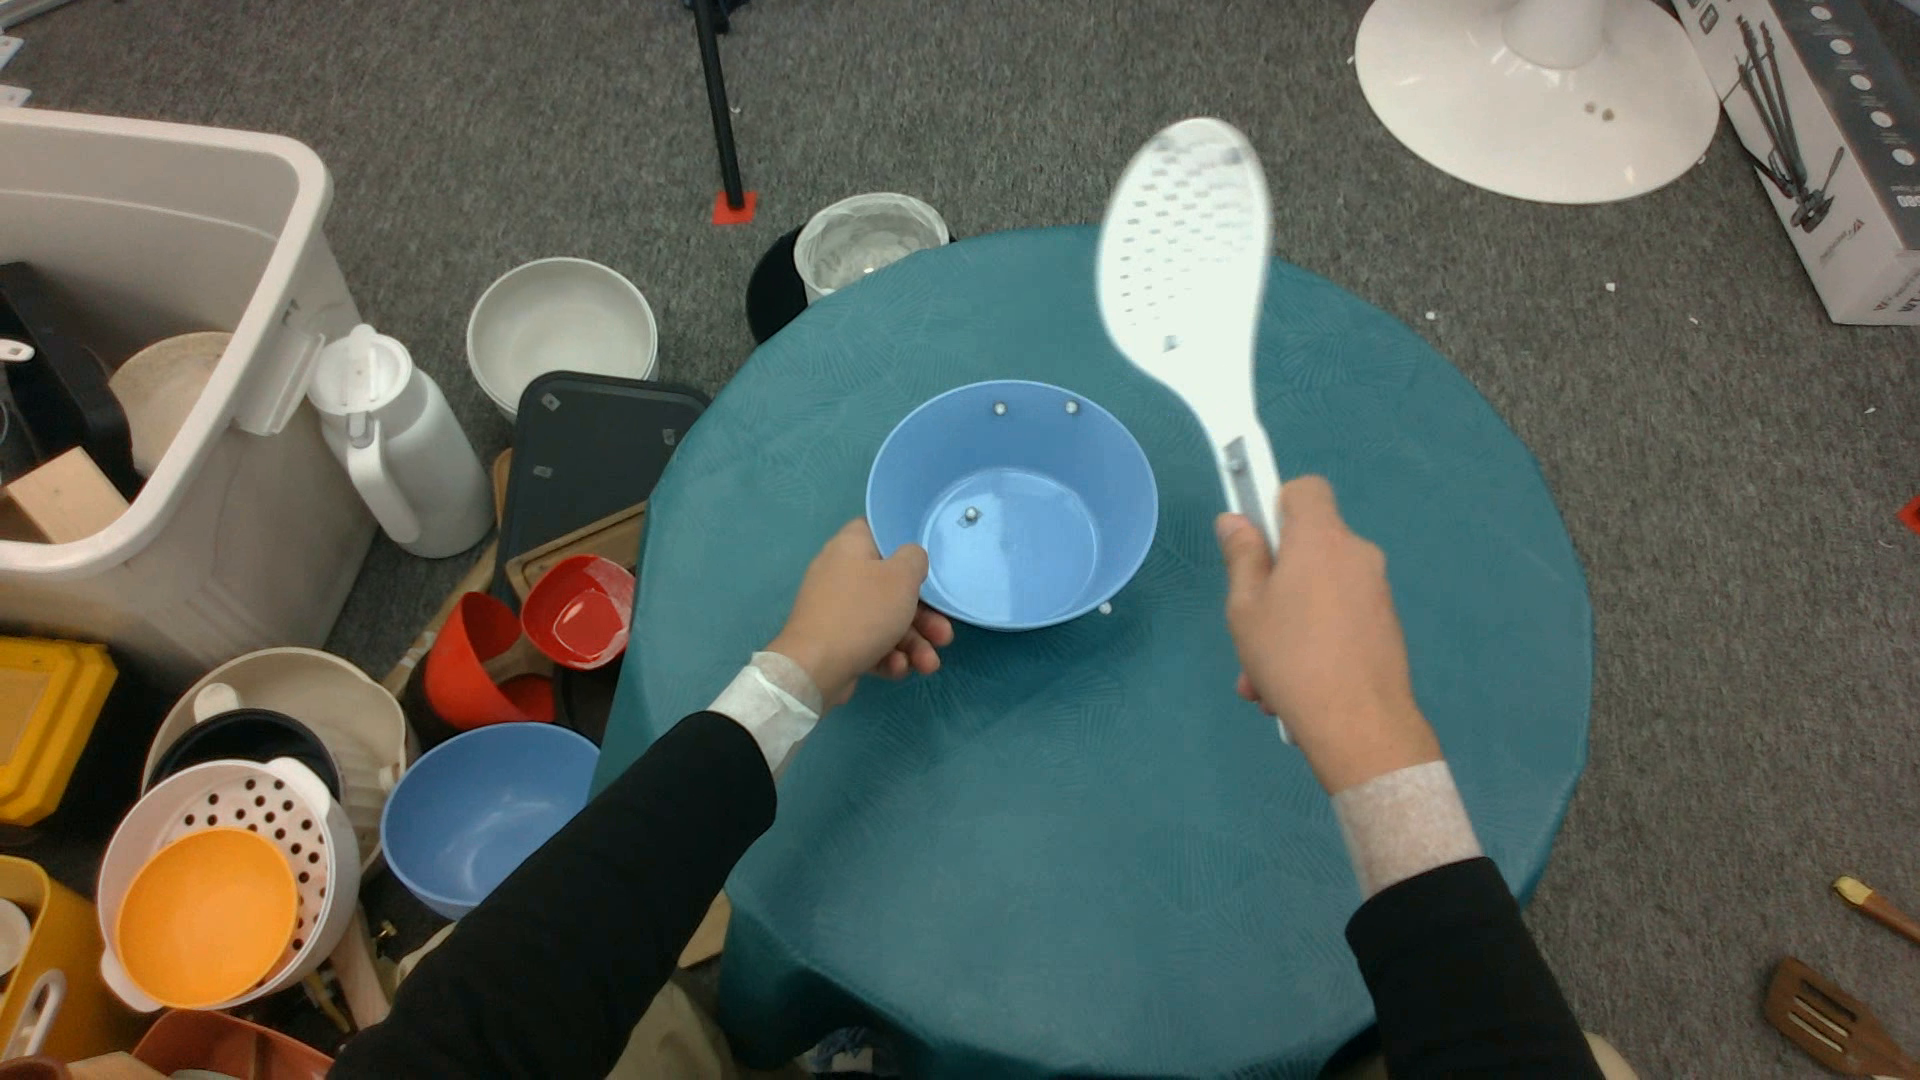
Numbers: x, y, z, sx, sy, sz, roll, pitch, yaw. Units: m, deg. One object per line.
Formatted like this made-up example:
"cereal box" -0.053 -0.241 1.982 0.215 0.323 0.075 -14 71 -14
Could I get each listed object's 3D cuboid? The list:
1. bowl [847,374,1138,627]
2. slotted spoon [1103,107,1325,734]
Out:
"bowl" 0.019 -0.013 0.853 0.176 0.070 0.177 1 61 -1
"slotted spoon" 0.139 -0.070 0.711 0.046 0.135 0.351 13 58 -28
